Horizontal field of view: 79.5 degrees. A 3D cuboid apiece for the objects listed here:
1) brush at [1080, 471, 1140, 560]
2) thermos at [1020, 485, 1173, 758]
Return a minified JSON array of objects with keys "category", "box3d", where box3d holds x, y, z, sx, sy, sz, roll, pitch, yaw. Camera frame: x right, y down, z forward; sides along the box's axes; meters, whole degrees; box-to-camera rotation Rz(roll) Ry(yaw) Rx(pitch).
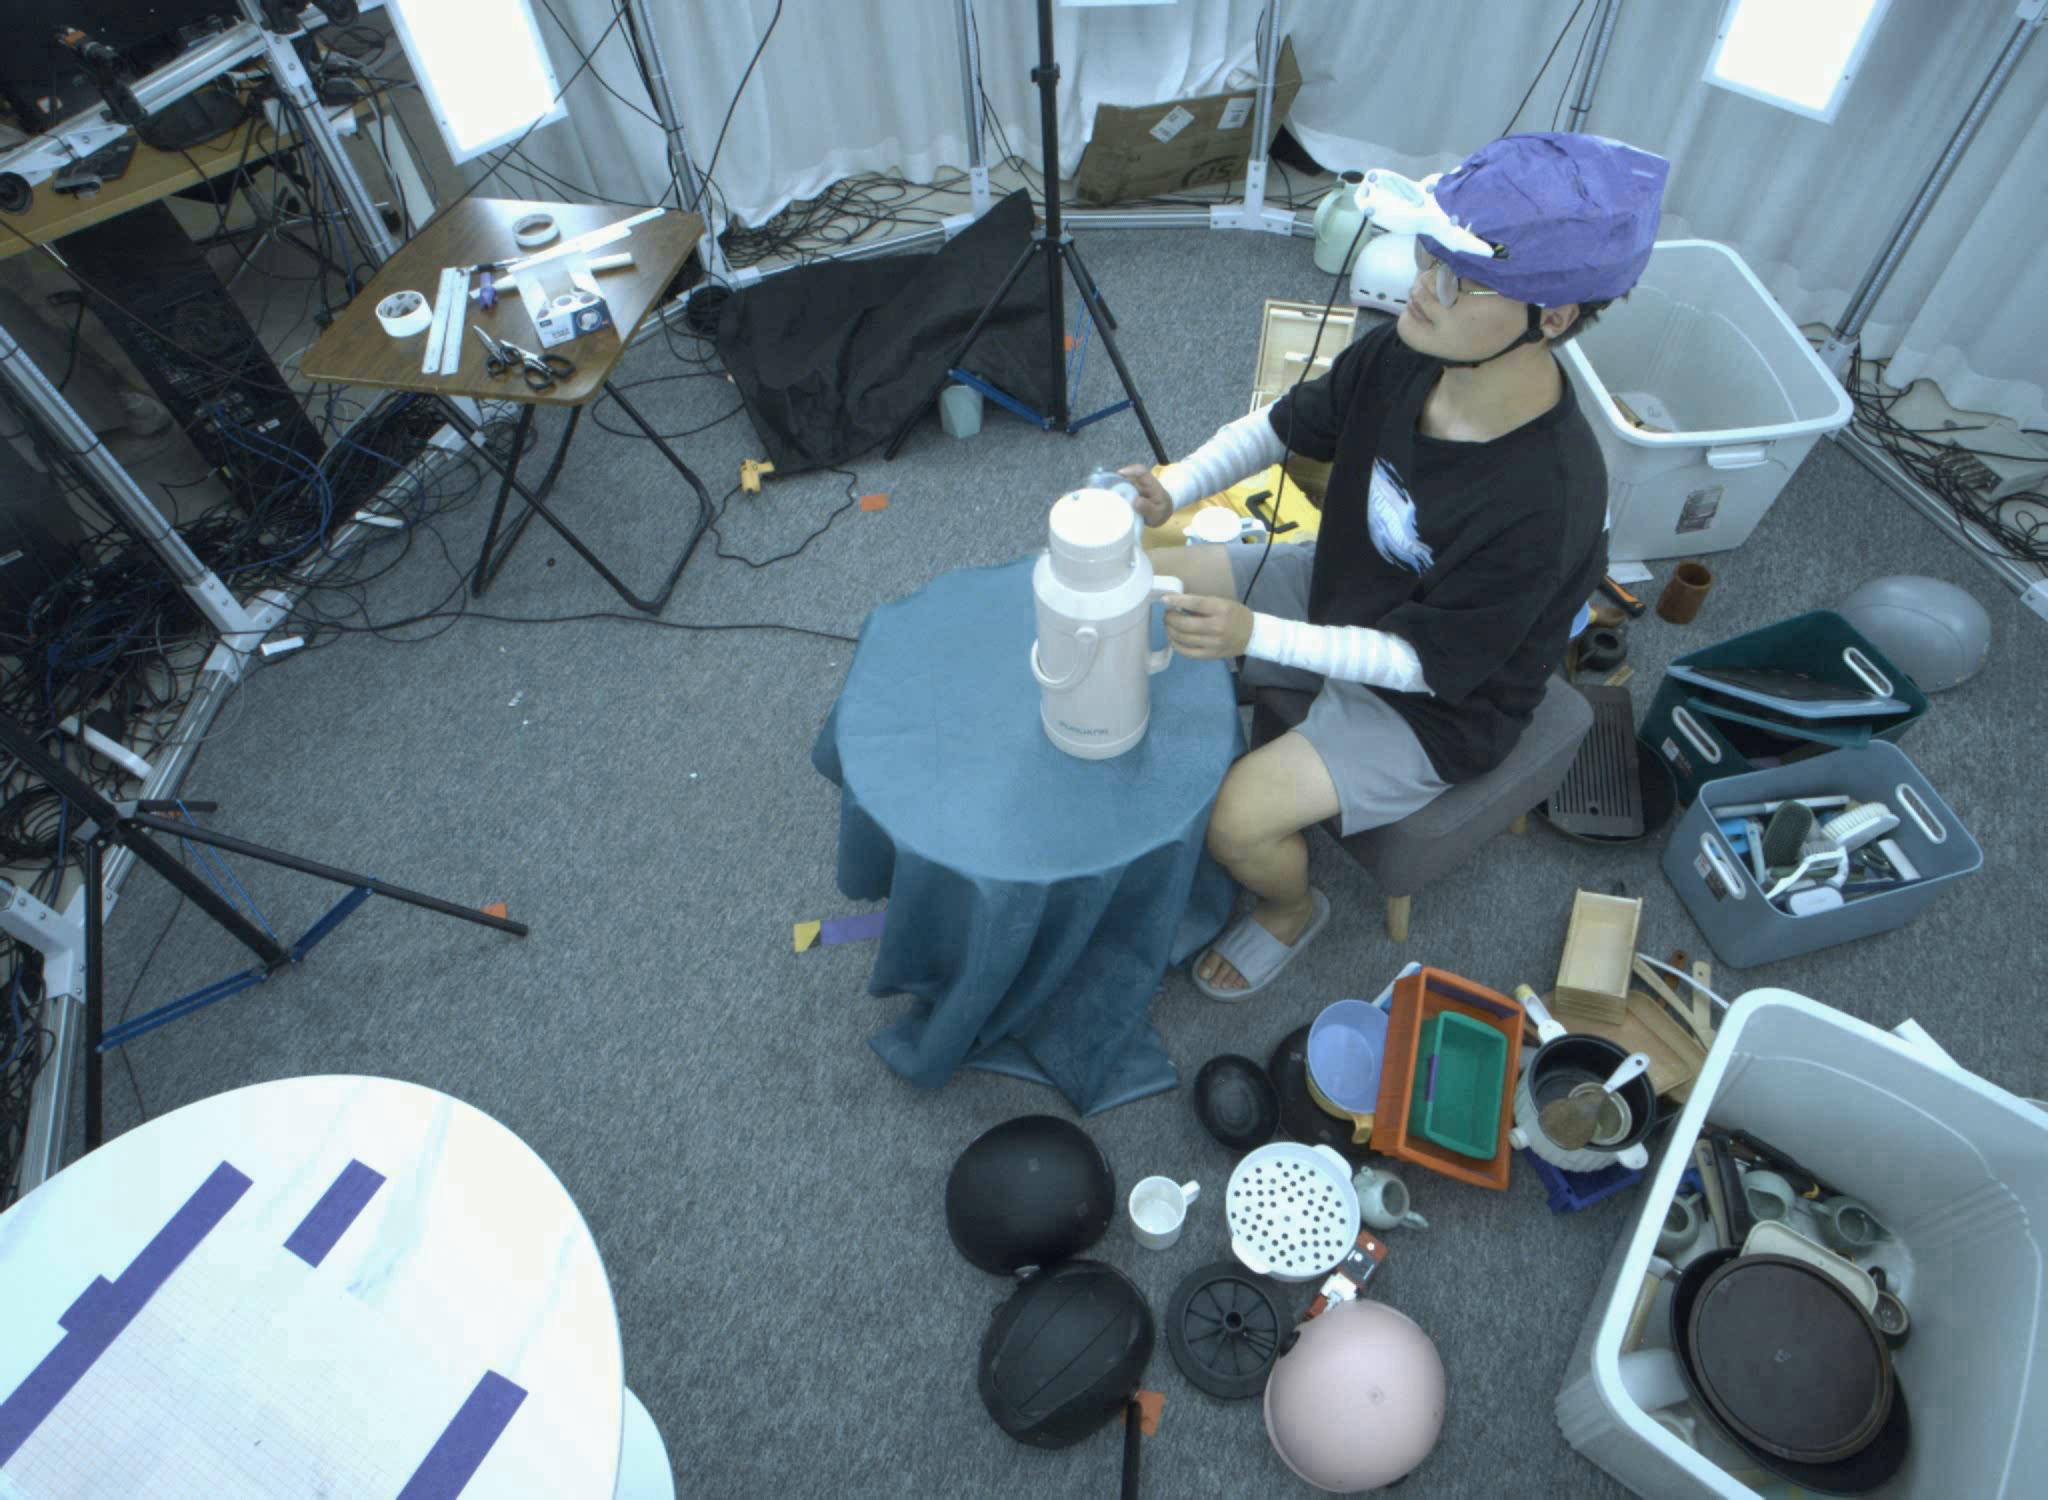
[{"category":"brush","box3d":[0.113,-0.328,1.658,0.060,0.179,0.094,16,76,26]},{"category":"thermos","box3d":[0.093,-0.167,1.649,0.206,0.411,0.174,3,53,6]}]
